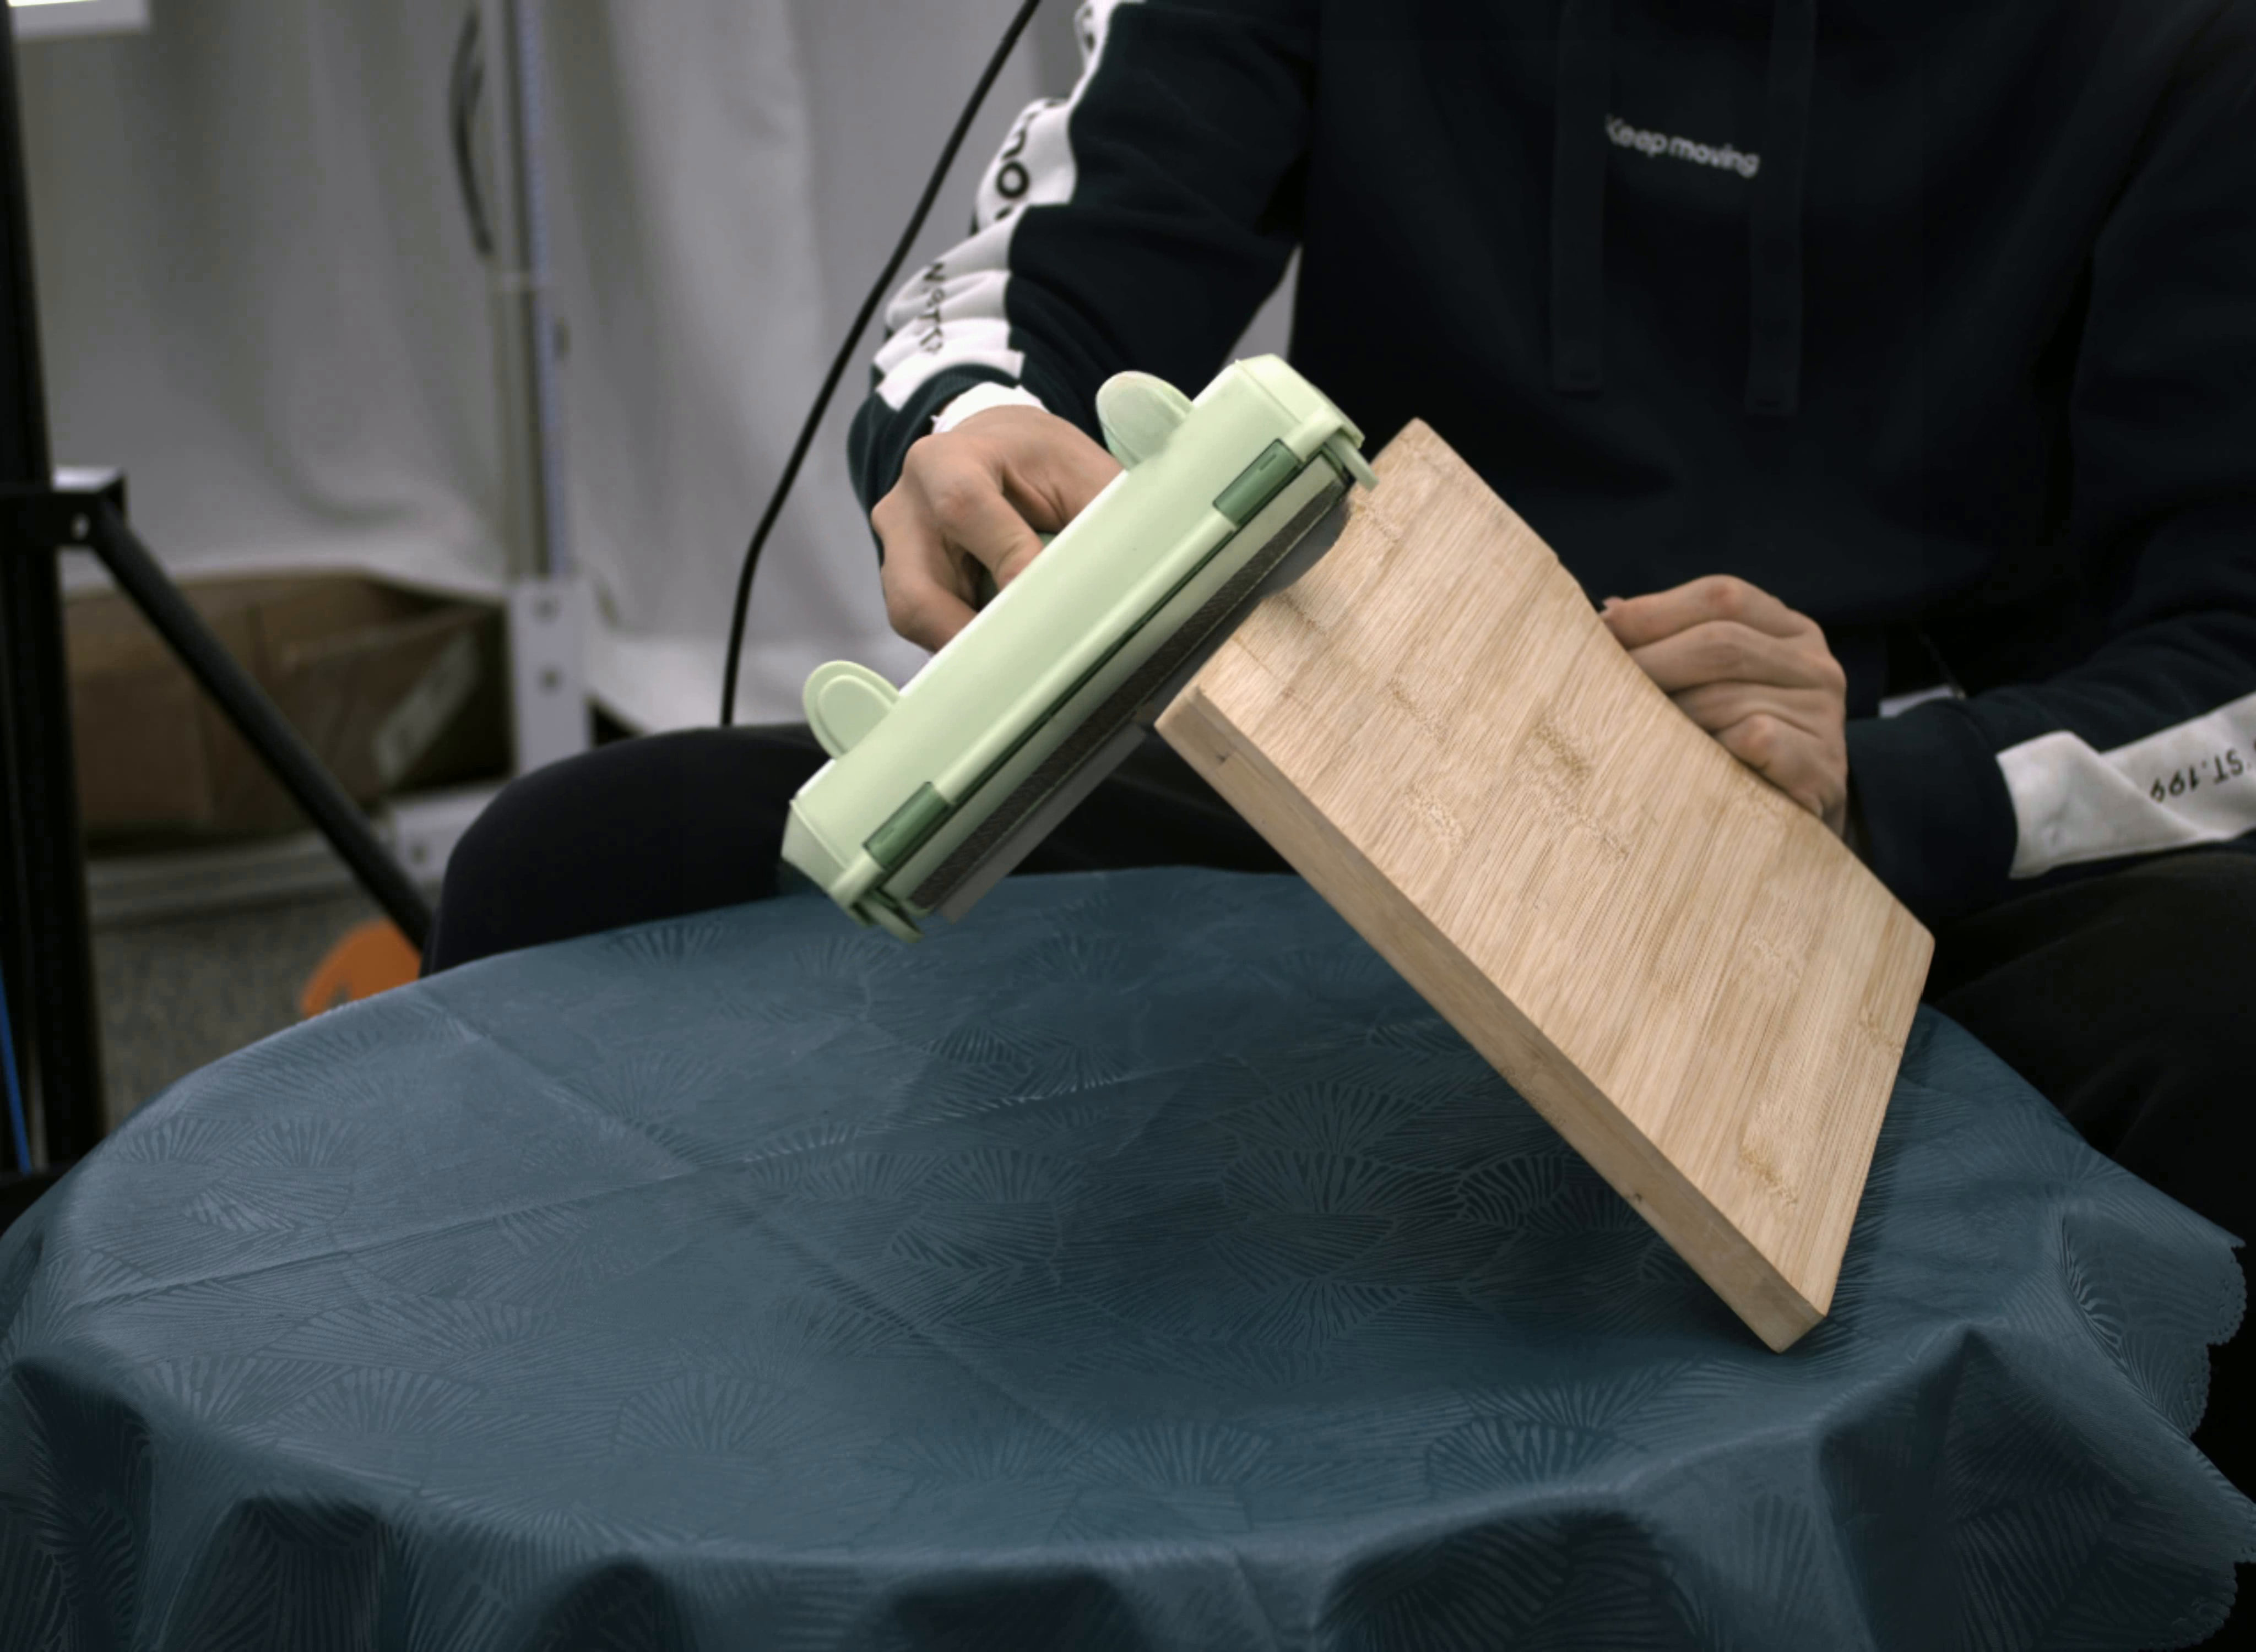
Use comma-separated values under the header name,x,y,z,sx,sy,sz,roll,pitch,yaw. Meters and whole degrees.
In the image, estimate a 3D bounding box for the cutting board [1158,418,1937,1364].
name,x,y,z,sx,sy,sz,roll,pitch,yaw
cutting board,0.134,0.006,1.563,0.024,0.250,0.346,-44,2,21

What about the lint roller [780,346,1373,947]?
name,x,y,z,sx,sy,sz,roll,pitch,yaw
lint roller,-0.032,-0.072,1.541,0.199,0.081,0.186,-45,23,3
